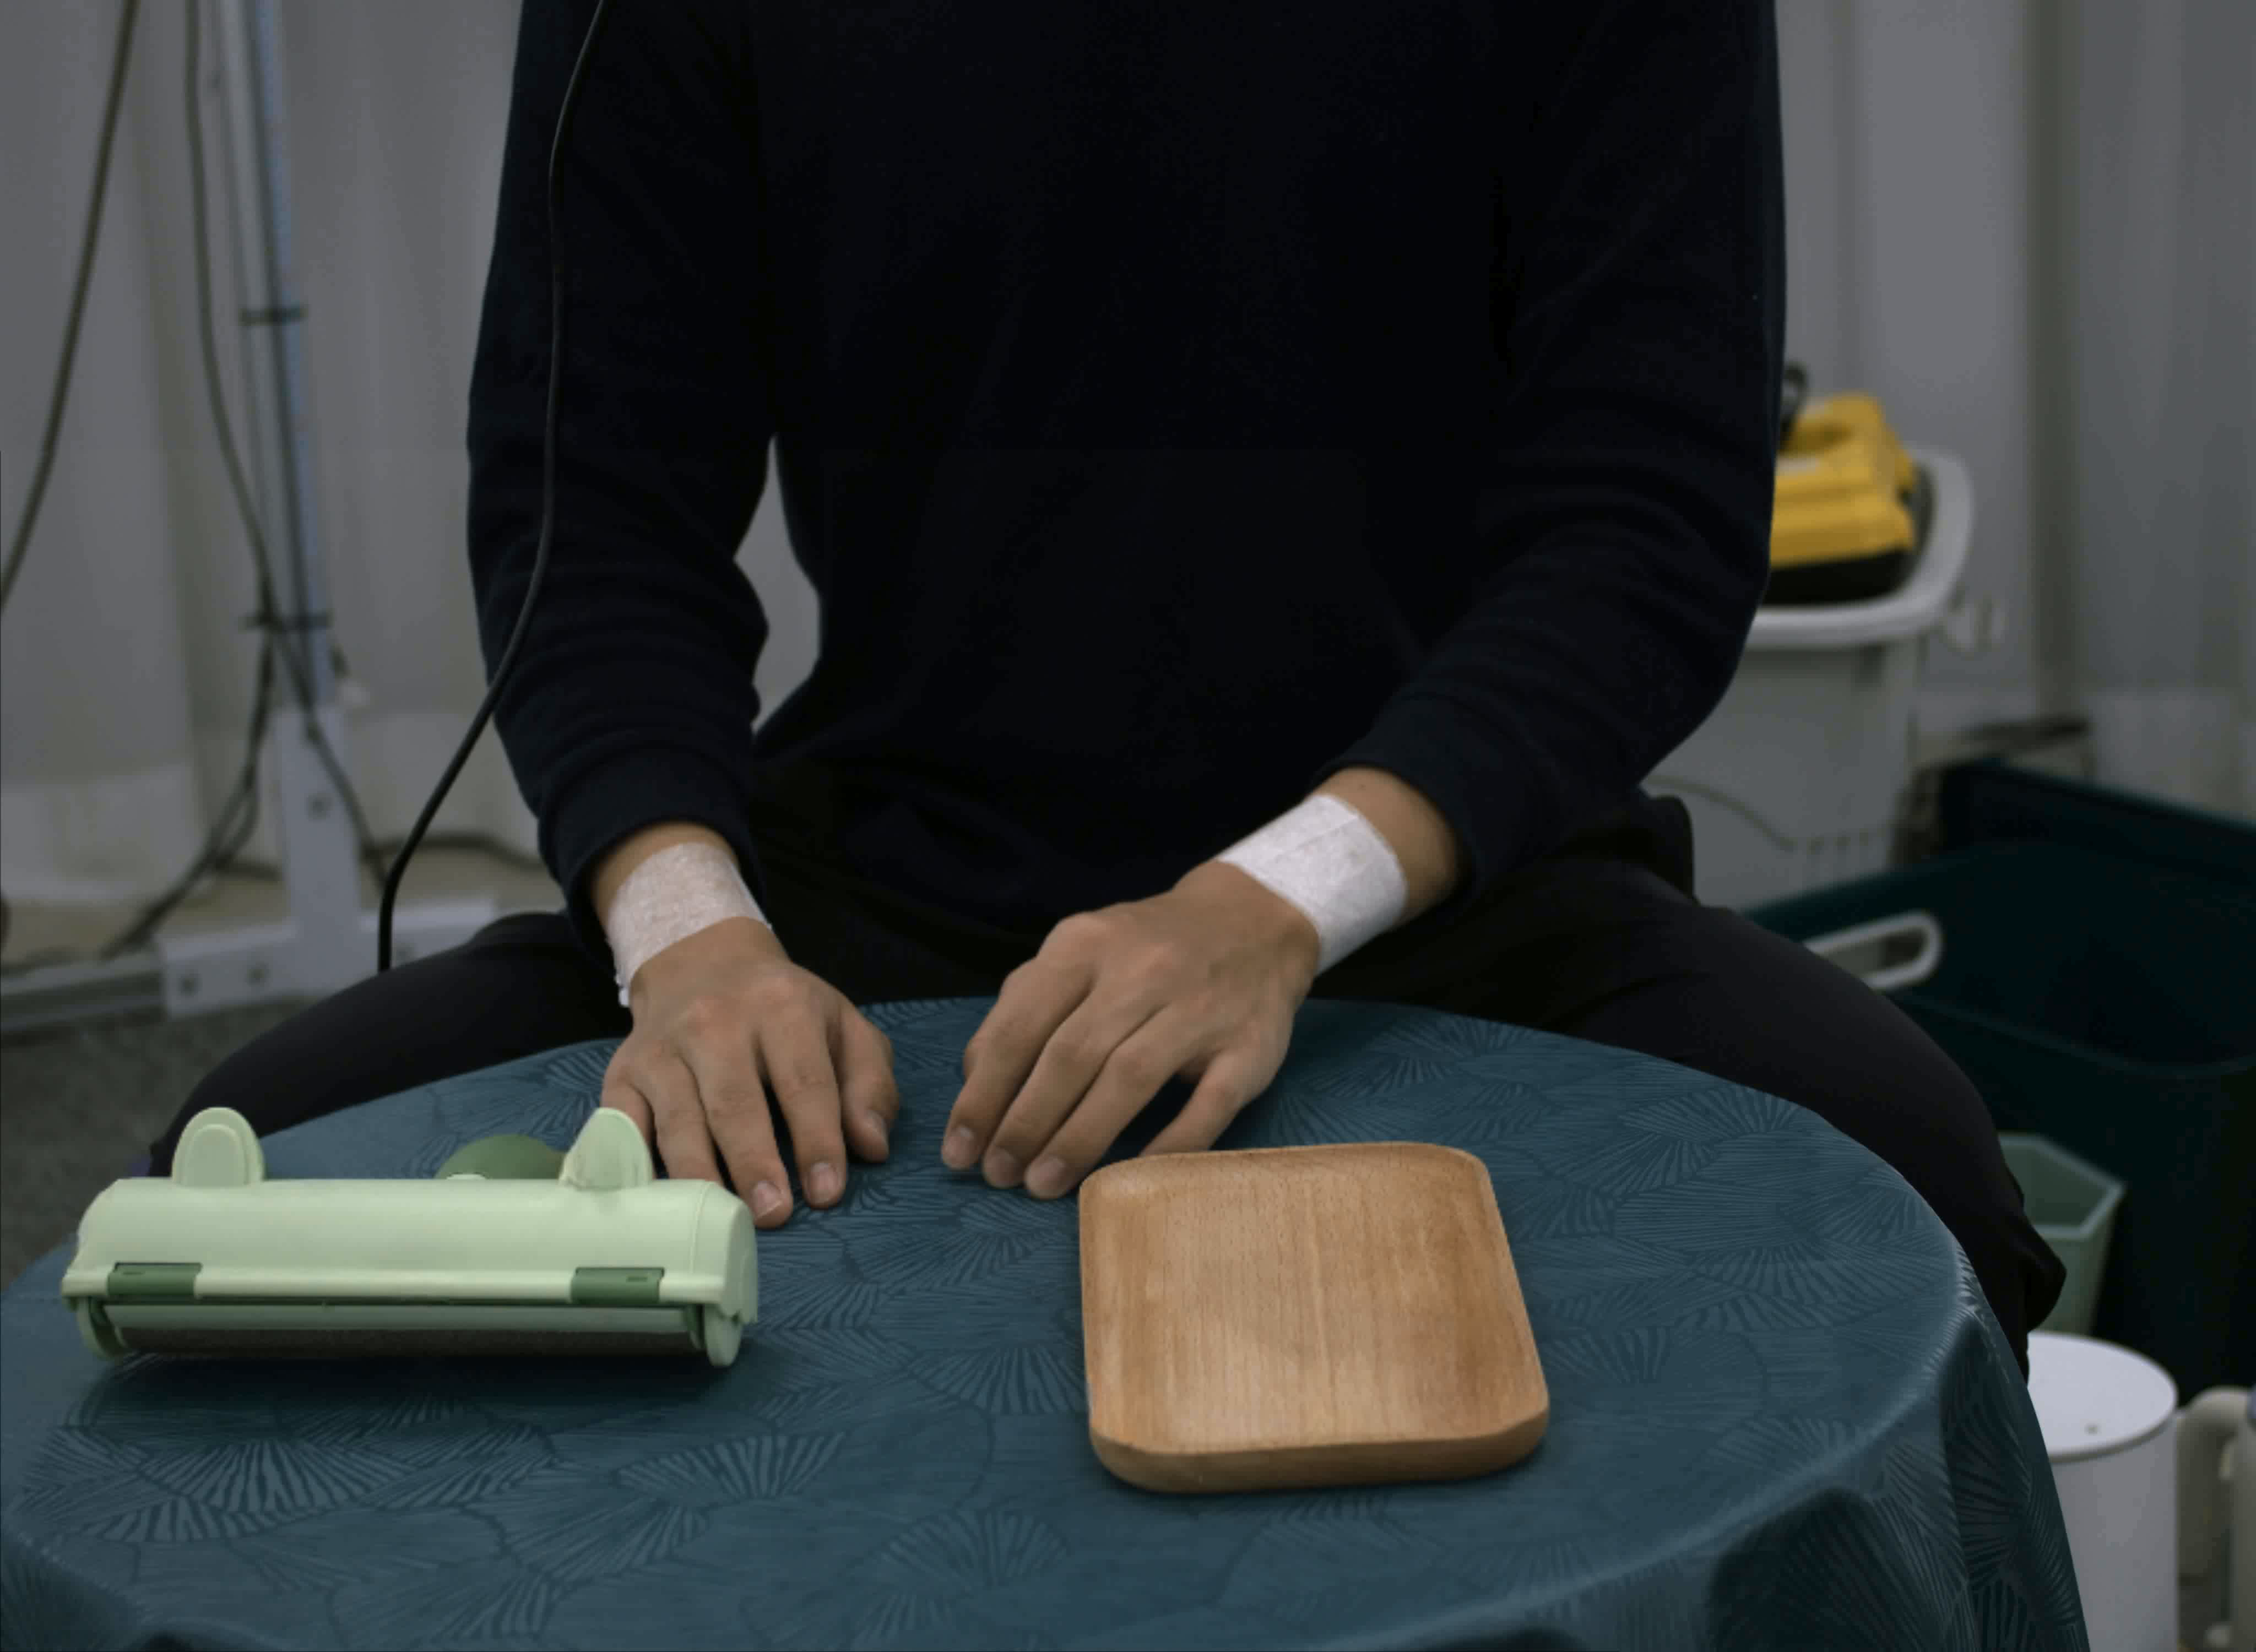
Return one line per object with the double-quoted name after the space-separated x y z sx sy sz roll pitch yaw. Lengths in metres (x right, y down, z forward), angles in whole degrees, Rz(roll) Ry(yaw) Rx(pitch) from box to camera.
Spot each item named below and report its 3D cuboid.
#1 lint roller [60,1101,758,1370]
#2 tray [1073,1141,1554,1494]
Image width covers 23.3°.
-0.202 0.102 1.639 0.198 0.081 0.185 0 21 7 "lint roller"
0.050 0.139 1.582 0.130 0.023 0.252 -1 14 -1 "tray"
